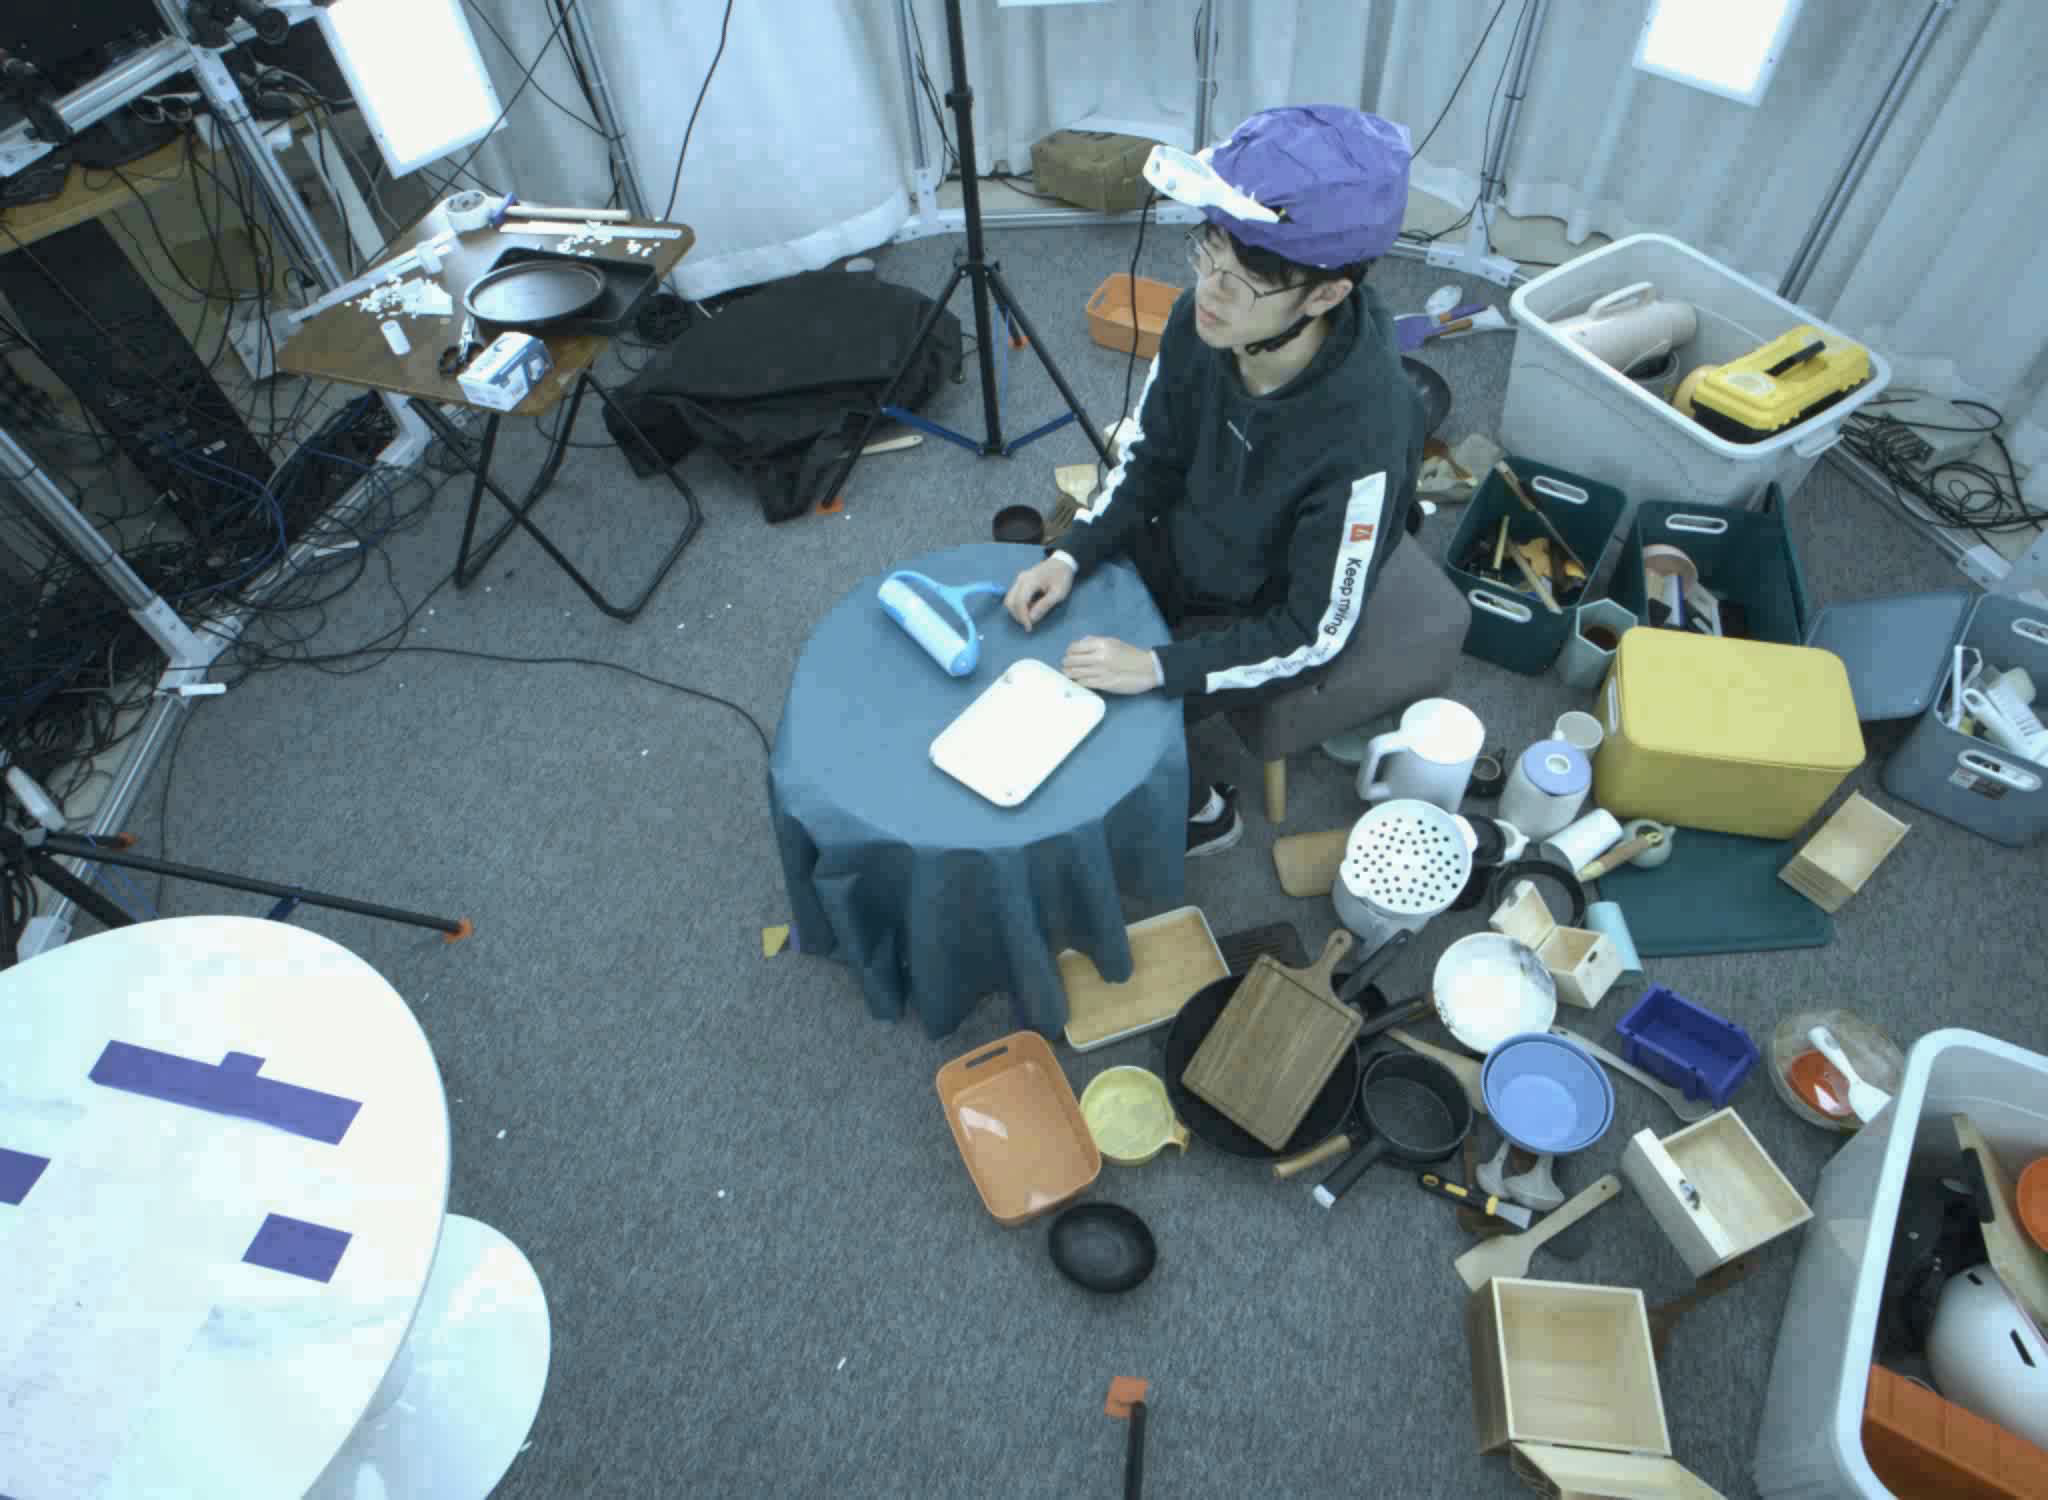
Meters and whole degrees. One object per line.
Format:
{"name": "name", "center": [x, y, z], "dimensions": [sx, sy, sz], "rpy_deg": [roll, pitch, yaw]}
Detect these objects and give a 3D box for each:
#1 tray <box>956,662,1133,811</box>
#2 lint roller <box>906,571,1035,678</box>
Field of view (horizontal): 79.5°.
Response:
{"name": "tray", "center": [0.032, -0.021, 1.786], "dimensions": [0.168, 0.017, 0.241], "rpy_deg": [34, 62, 23]}
{"name": "lint roller", "center": [-0.061, -0.221, 1.907], "dimensions": [0.181, 0.069, 0.224], "rpy_deg": [-36, 59, -20]}
